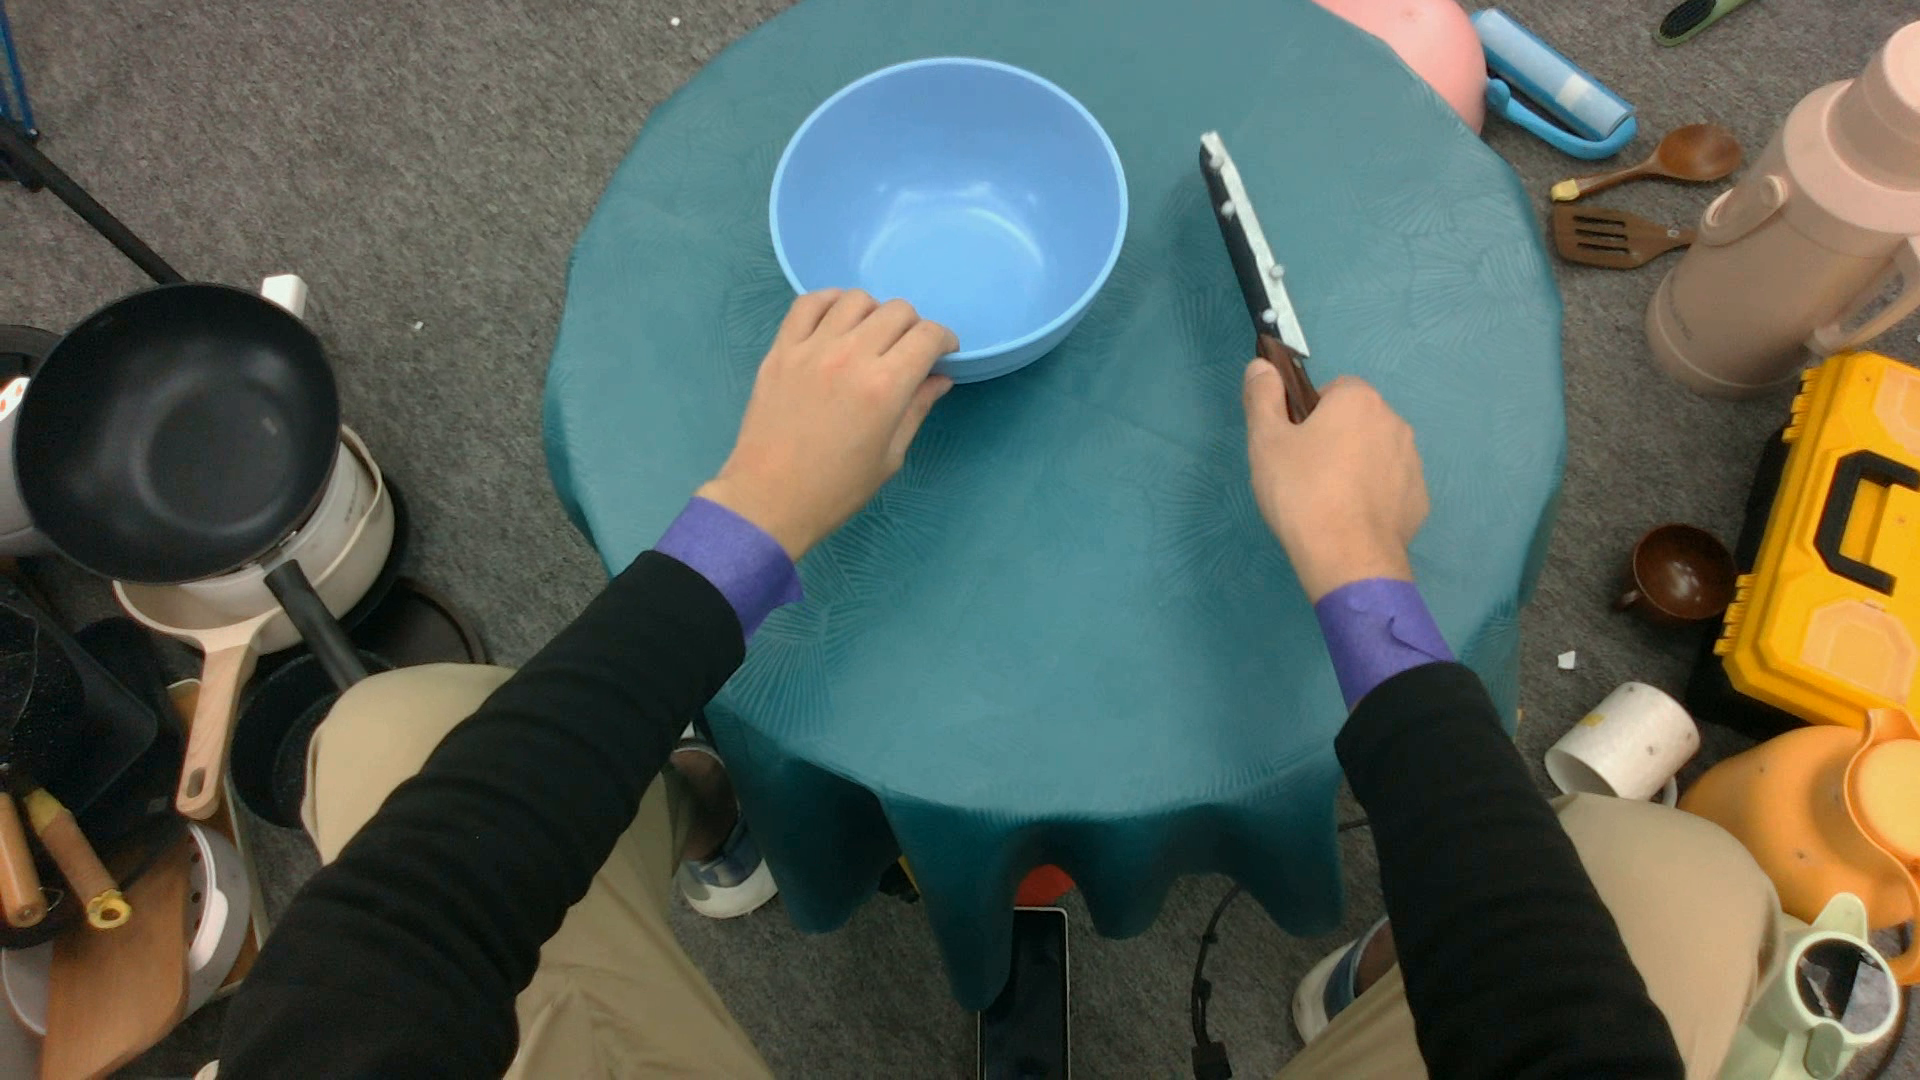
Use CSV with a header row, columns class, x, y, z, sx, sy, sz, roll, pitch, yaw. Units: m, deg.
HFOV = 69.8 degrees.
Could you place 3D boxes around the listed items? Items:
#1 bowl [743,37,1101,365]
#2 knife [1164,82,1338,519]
class,x,y,z,sx,sy,sz,roll,pitch,yaw
bowl,-0.020,-0.179,0.796,0.196,0.095,0.197,0,71,0
knife,0.156,-0.142,0.764,0.050,0.020,0.290,10,59,-42
